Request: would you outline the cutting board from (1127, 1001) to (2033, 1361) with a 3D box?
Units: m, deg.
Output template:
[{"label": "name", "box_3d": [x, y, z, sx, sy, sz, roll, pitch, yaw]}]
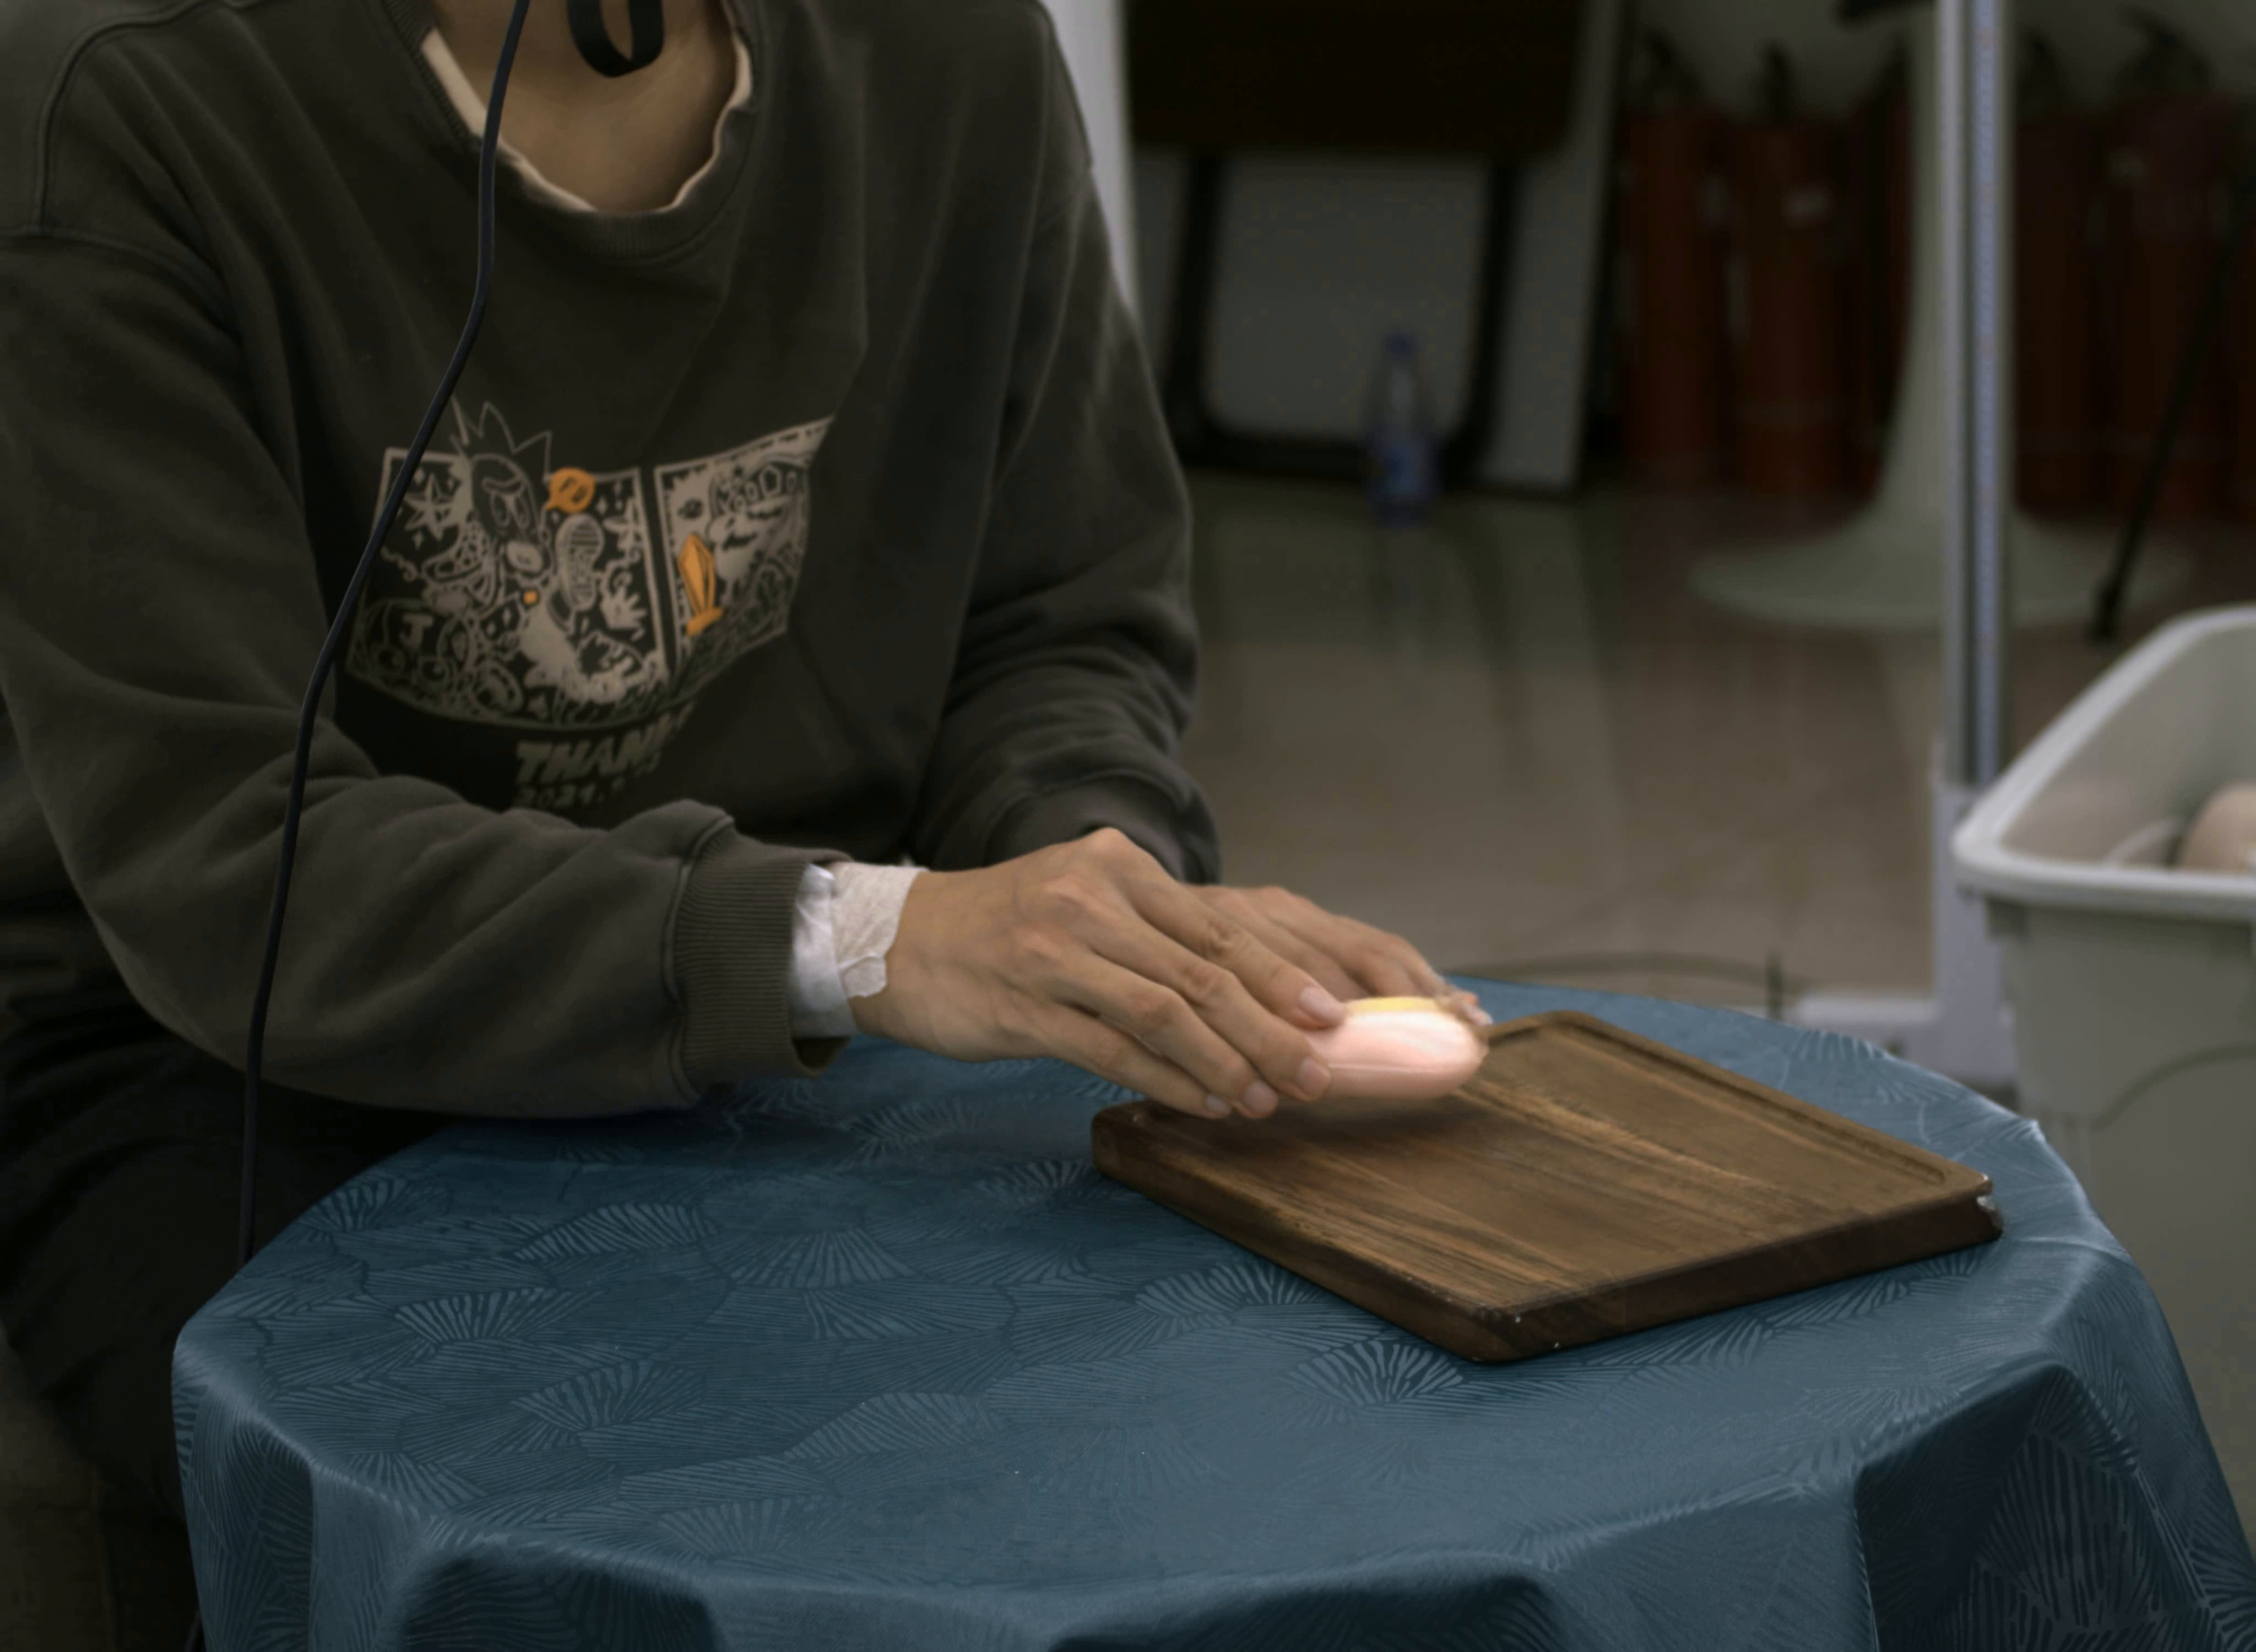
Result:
[{"label": "cutting board", "box_3d": [0.118, 0.103, 1.774, 0.197, 0.023, 0.356, -11, 15, -25]}]

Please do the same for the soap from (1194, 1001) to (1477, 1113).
[{"label": "soap", "box_3d": [0.068, 0.076, 1.771, 0.093, 0.031, 0.050, -2, 13, 3]}]
